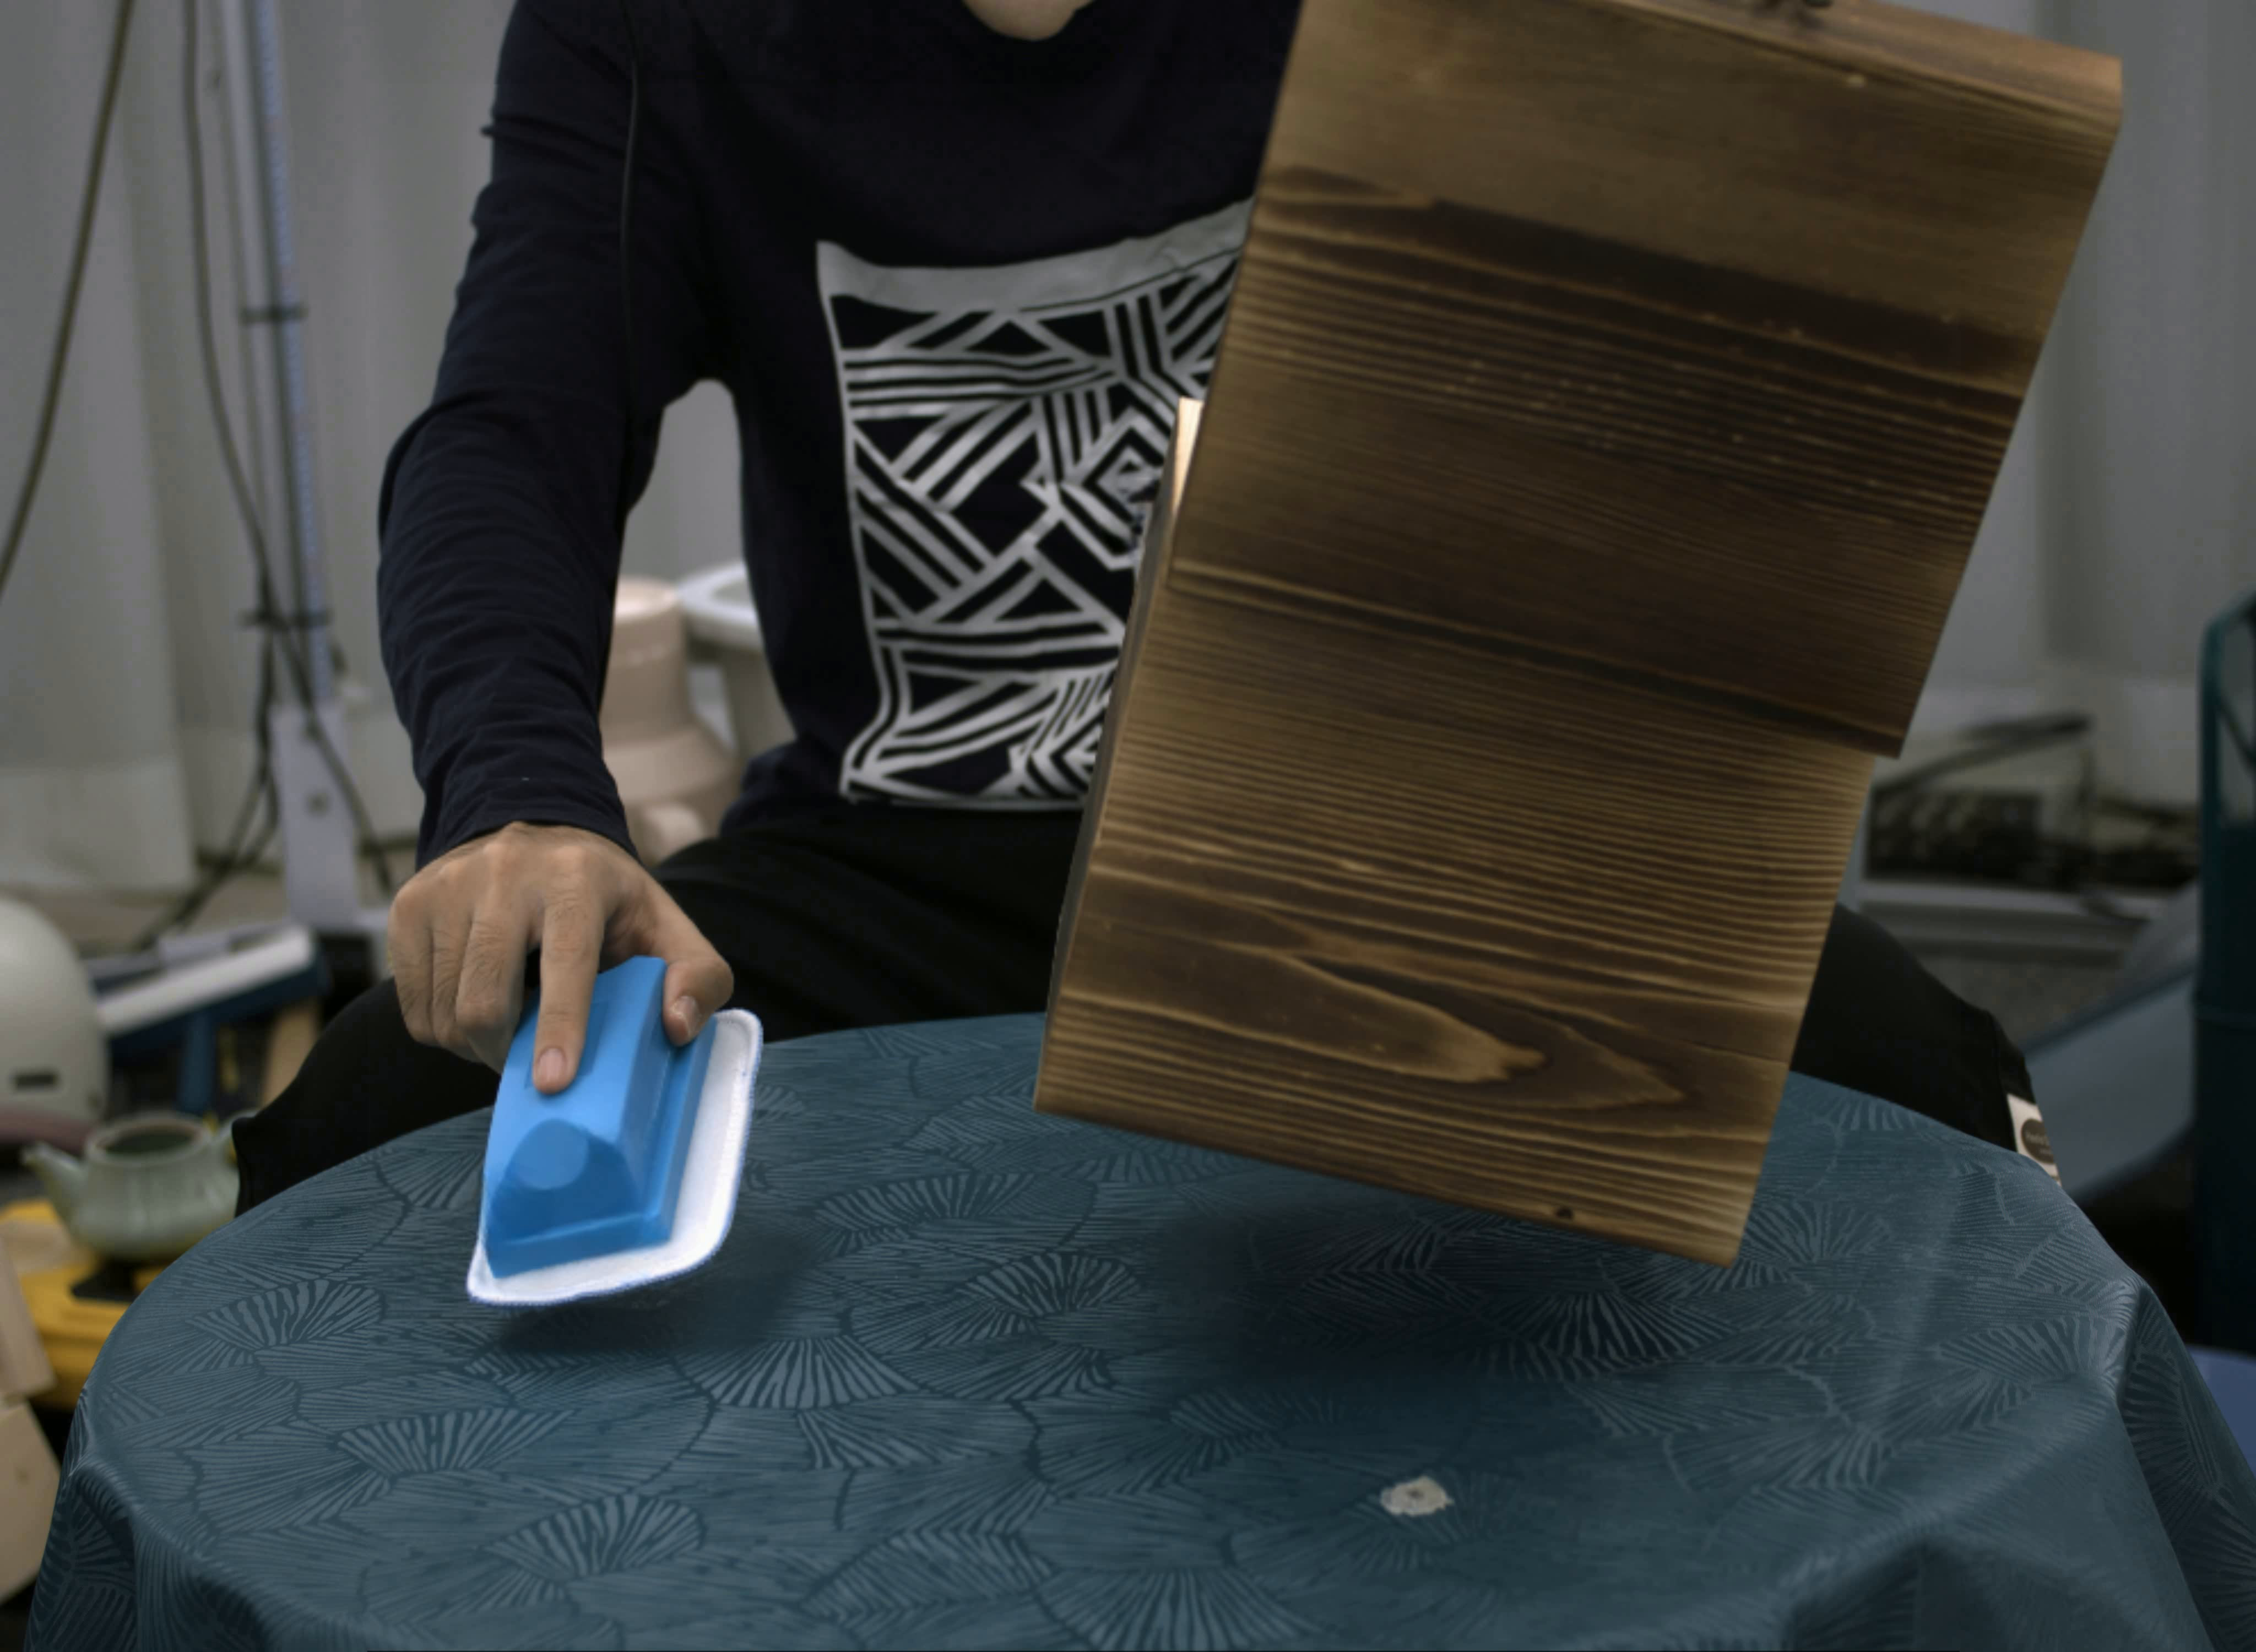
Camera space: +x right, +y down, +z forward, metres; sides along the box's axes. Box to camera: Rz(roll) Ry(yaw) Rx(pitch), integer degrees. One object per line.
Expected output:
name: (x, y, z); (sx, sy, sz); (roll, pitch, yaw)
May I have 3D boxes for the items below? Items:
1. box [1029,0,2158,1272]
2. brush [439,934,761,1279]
box: (0.115, -0.082, 1.516); (0.208, 0.374, 0.324); (14, 14, -2)
brush: (-0.161, 0.079, 1.645); (0.083, 0.055, 0.146); (-7, 31, 9)
